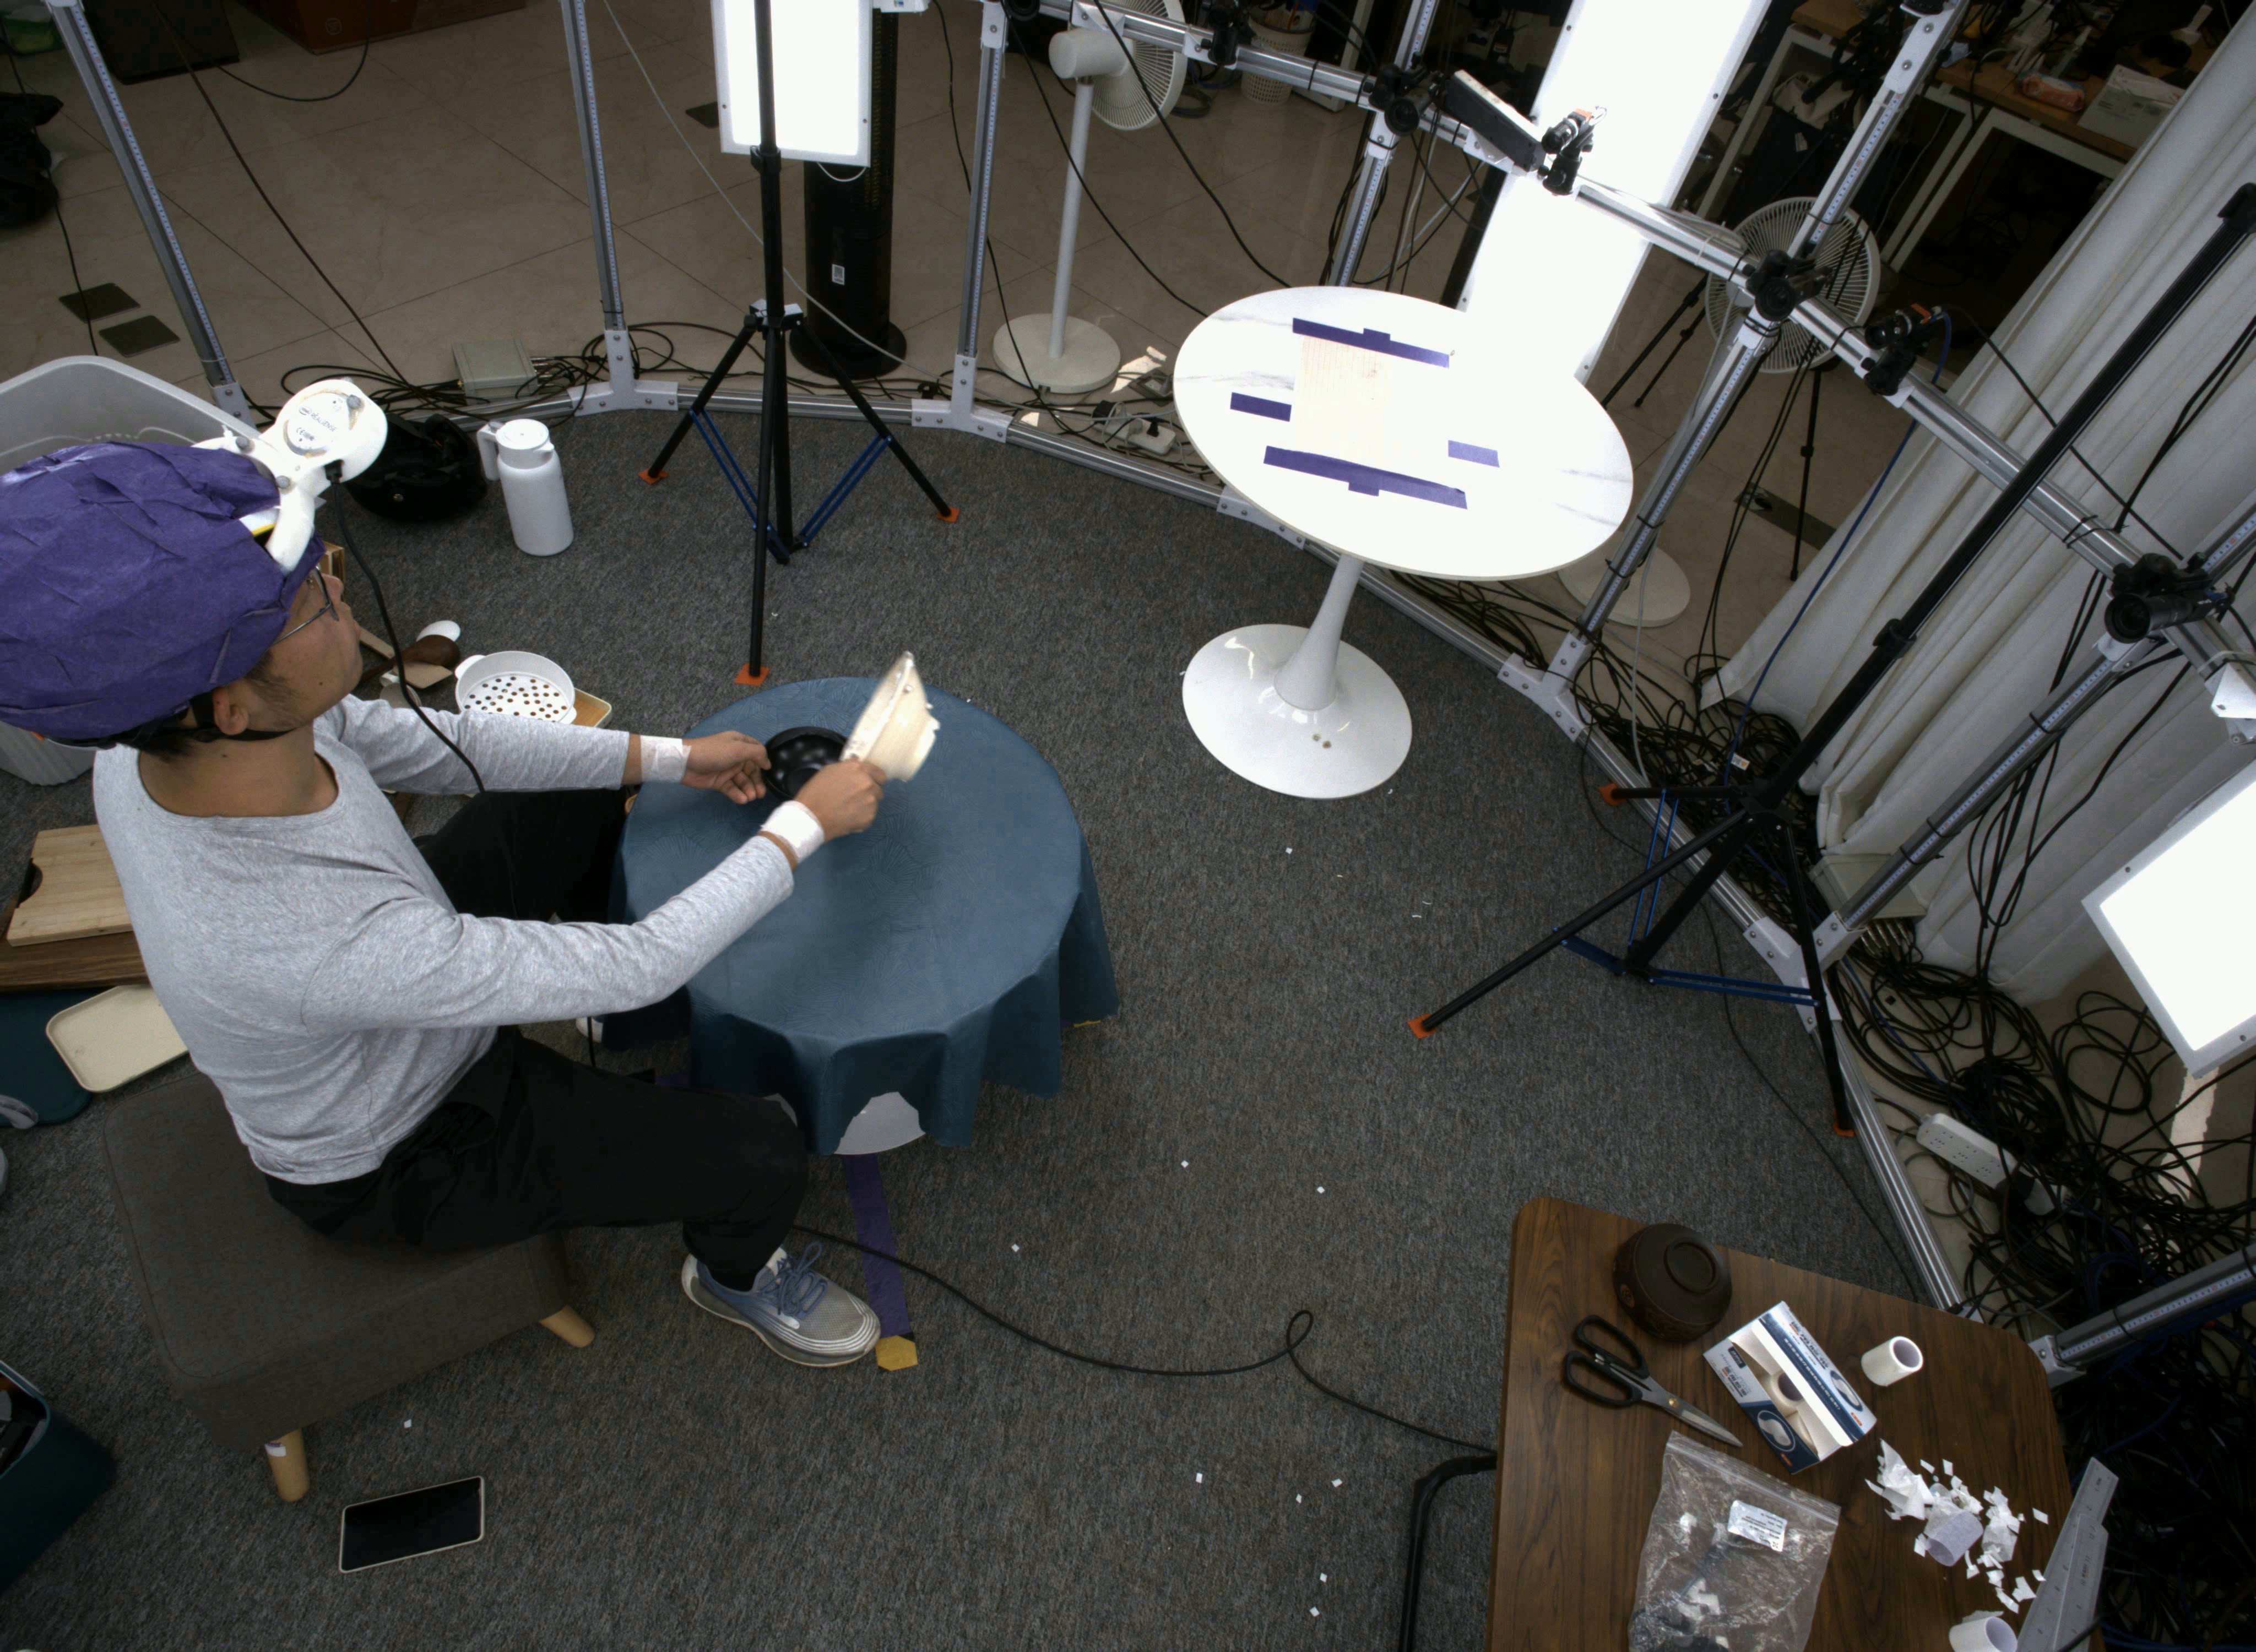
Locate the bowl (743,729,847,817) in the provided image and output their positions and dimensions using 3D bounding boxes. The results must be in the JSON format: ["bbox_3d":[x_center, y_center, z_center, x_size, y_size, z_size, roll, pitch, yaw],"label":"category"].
[{"bbox_3d":[-0.447,-0.063,1.745,0.140,0.051,0.137,9,51,-9],"label":"bowl"}]

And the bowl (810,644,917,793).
[{"bbox_3d":[-0.321,-0.119,1.634,0.079,0.203,0.201,27,48,-19],"label":"bowl"}]
